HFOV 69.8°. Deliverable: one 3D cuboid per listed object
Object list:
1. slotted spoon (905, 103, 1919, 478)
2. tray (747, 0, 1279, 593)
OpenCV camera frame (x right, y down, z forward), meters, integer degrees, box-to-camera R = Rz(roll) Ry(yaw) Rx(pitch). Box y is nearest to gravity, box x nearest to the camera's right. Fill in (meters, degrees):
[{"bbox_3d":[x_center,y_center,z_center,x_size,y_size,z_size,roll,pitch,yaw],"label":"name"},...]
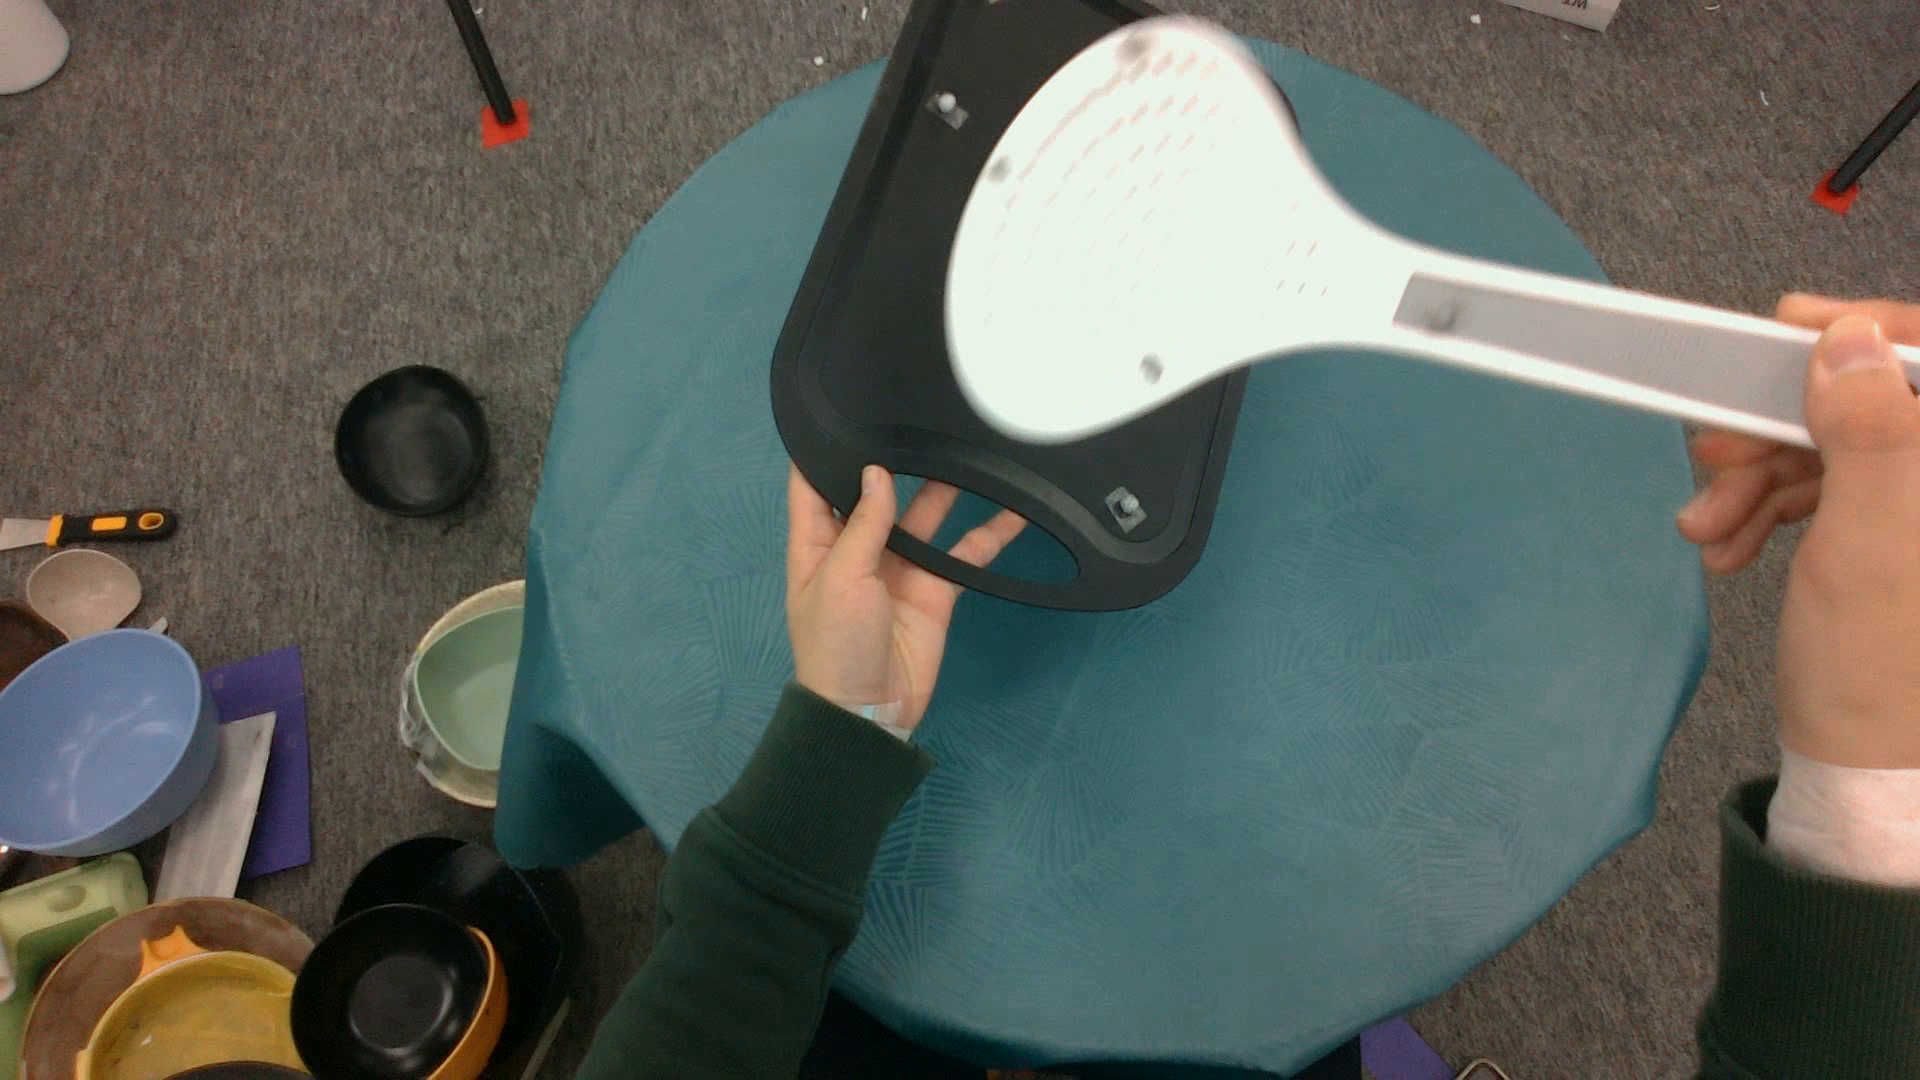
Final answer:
[{"bbox_3d":[0.110,-0.063,0.413,0.349,0.046,0.136,17,91,48],"label":"slotted spoon"},{"bbox_3d":[0.036,-0.134,0.630,0.211,0.010,0.326,23,67,-13],"label":"tray"}]
